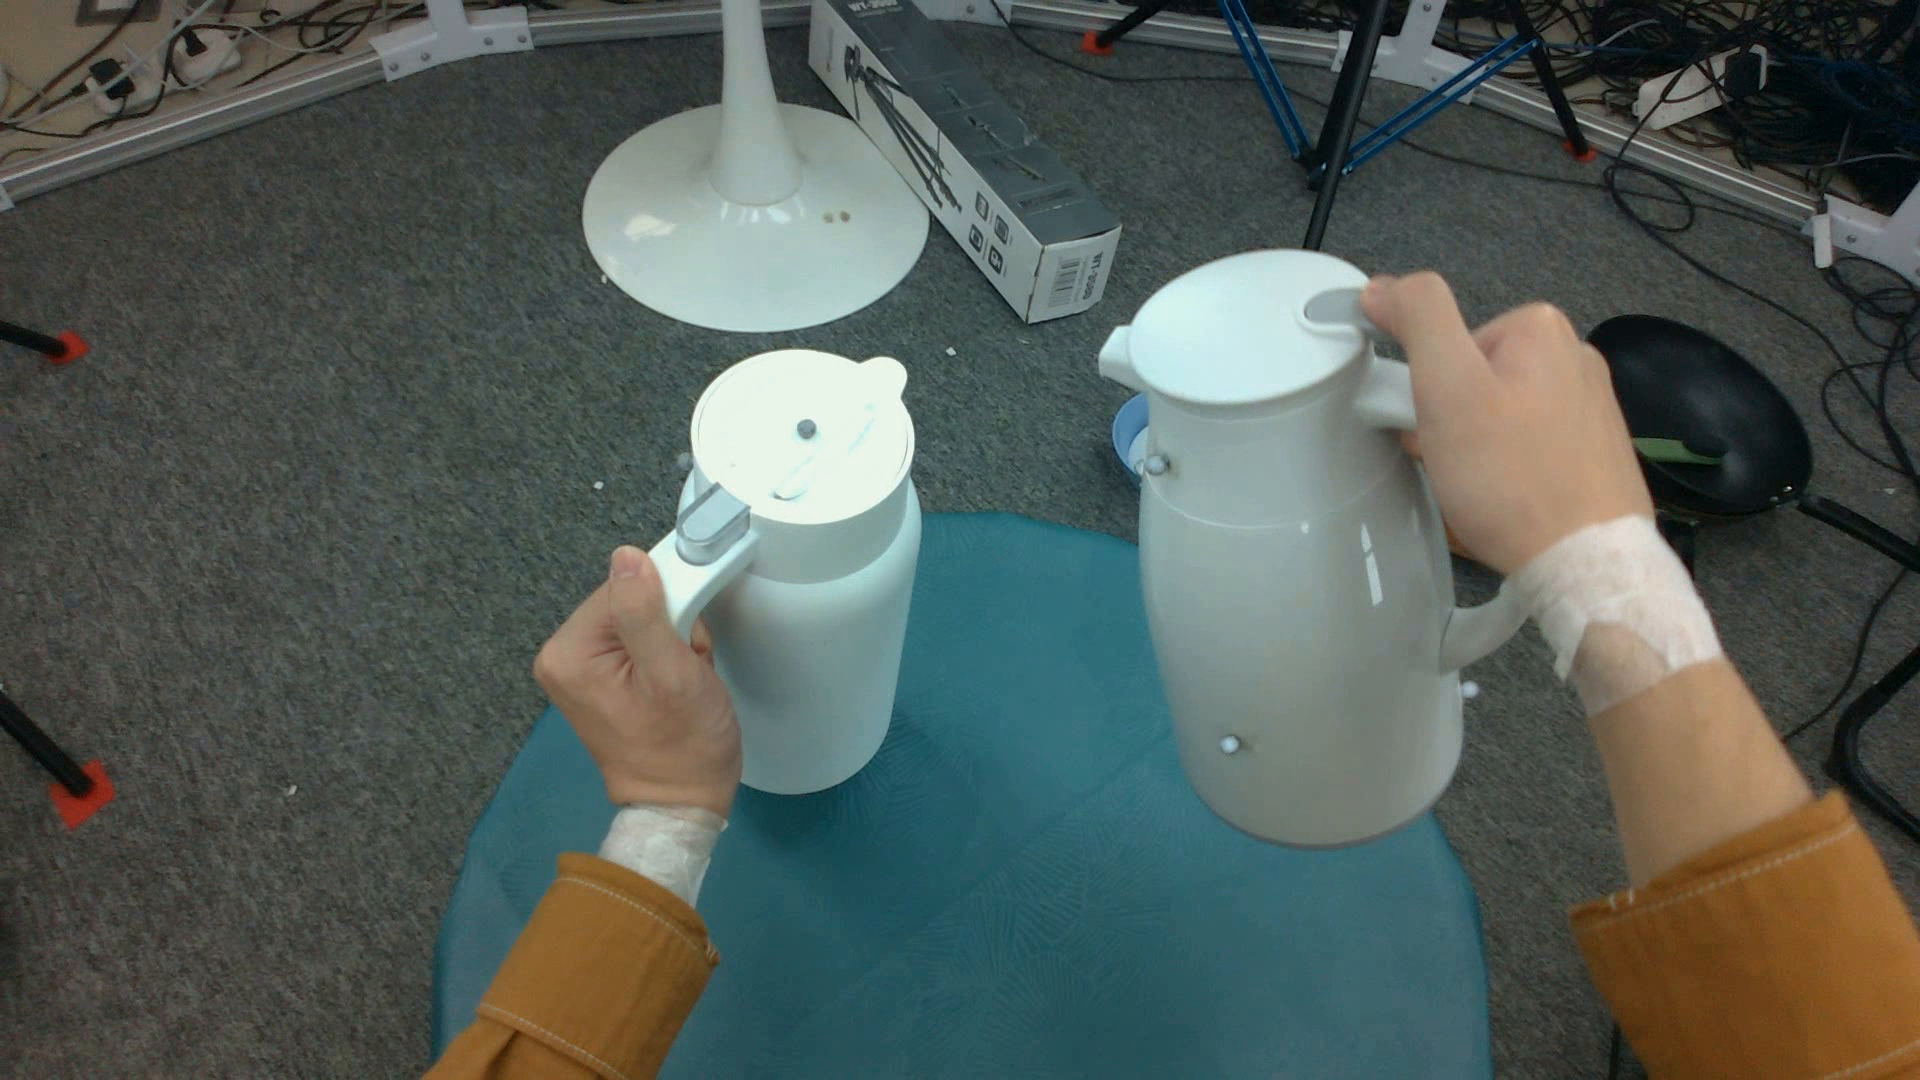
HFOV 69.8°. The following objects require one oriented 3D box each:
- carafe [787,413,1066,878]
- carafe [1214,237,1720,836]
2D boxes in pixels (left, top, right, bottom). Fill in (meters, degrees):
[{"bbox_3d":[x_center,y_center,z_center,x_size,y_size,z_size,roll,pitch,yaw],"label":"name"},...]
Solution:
[{"bbox_3d":[-0.012,0.080,0.703,0.124,0.267,0.173,25,58,19],"label":"carafe"},{"bbox_3d":[0.214,-0.004,0.554,0.167,0.248,0.133,-3,45,36],"label":"carafe"}]
